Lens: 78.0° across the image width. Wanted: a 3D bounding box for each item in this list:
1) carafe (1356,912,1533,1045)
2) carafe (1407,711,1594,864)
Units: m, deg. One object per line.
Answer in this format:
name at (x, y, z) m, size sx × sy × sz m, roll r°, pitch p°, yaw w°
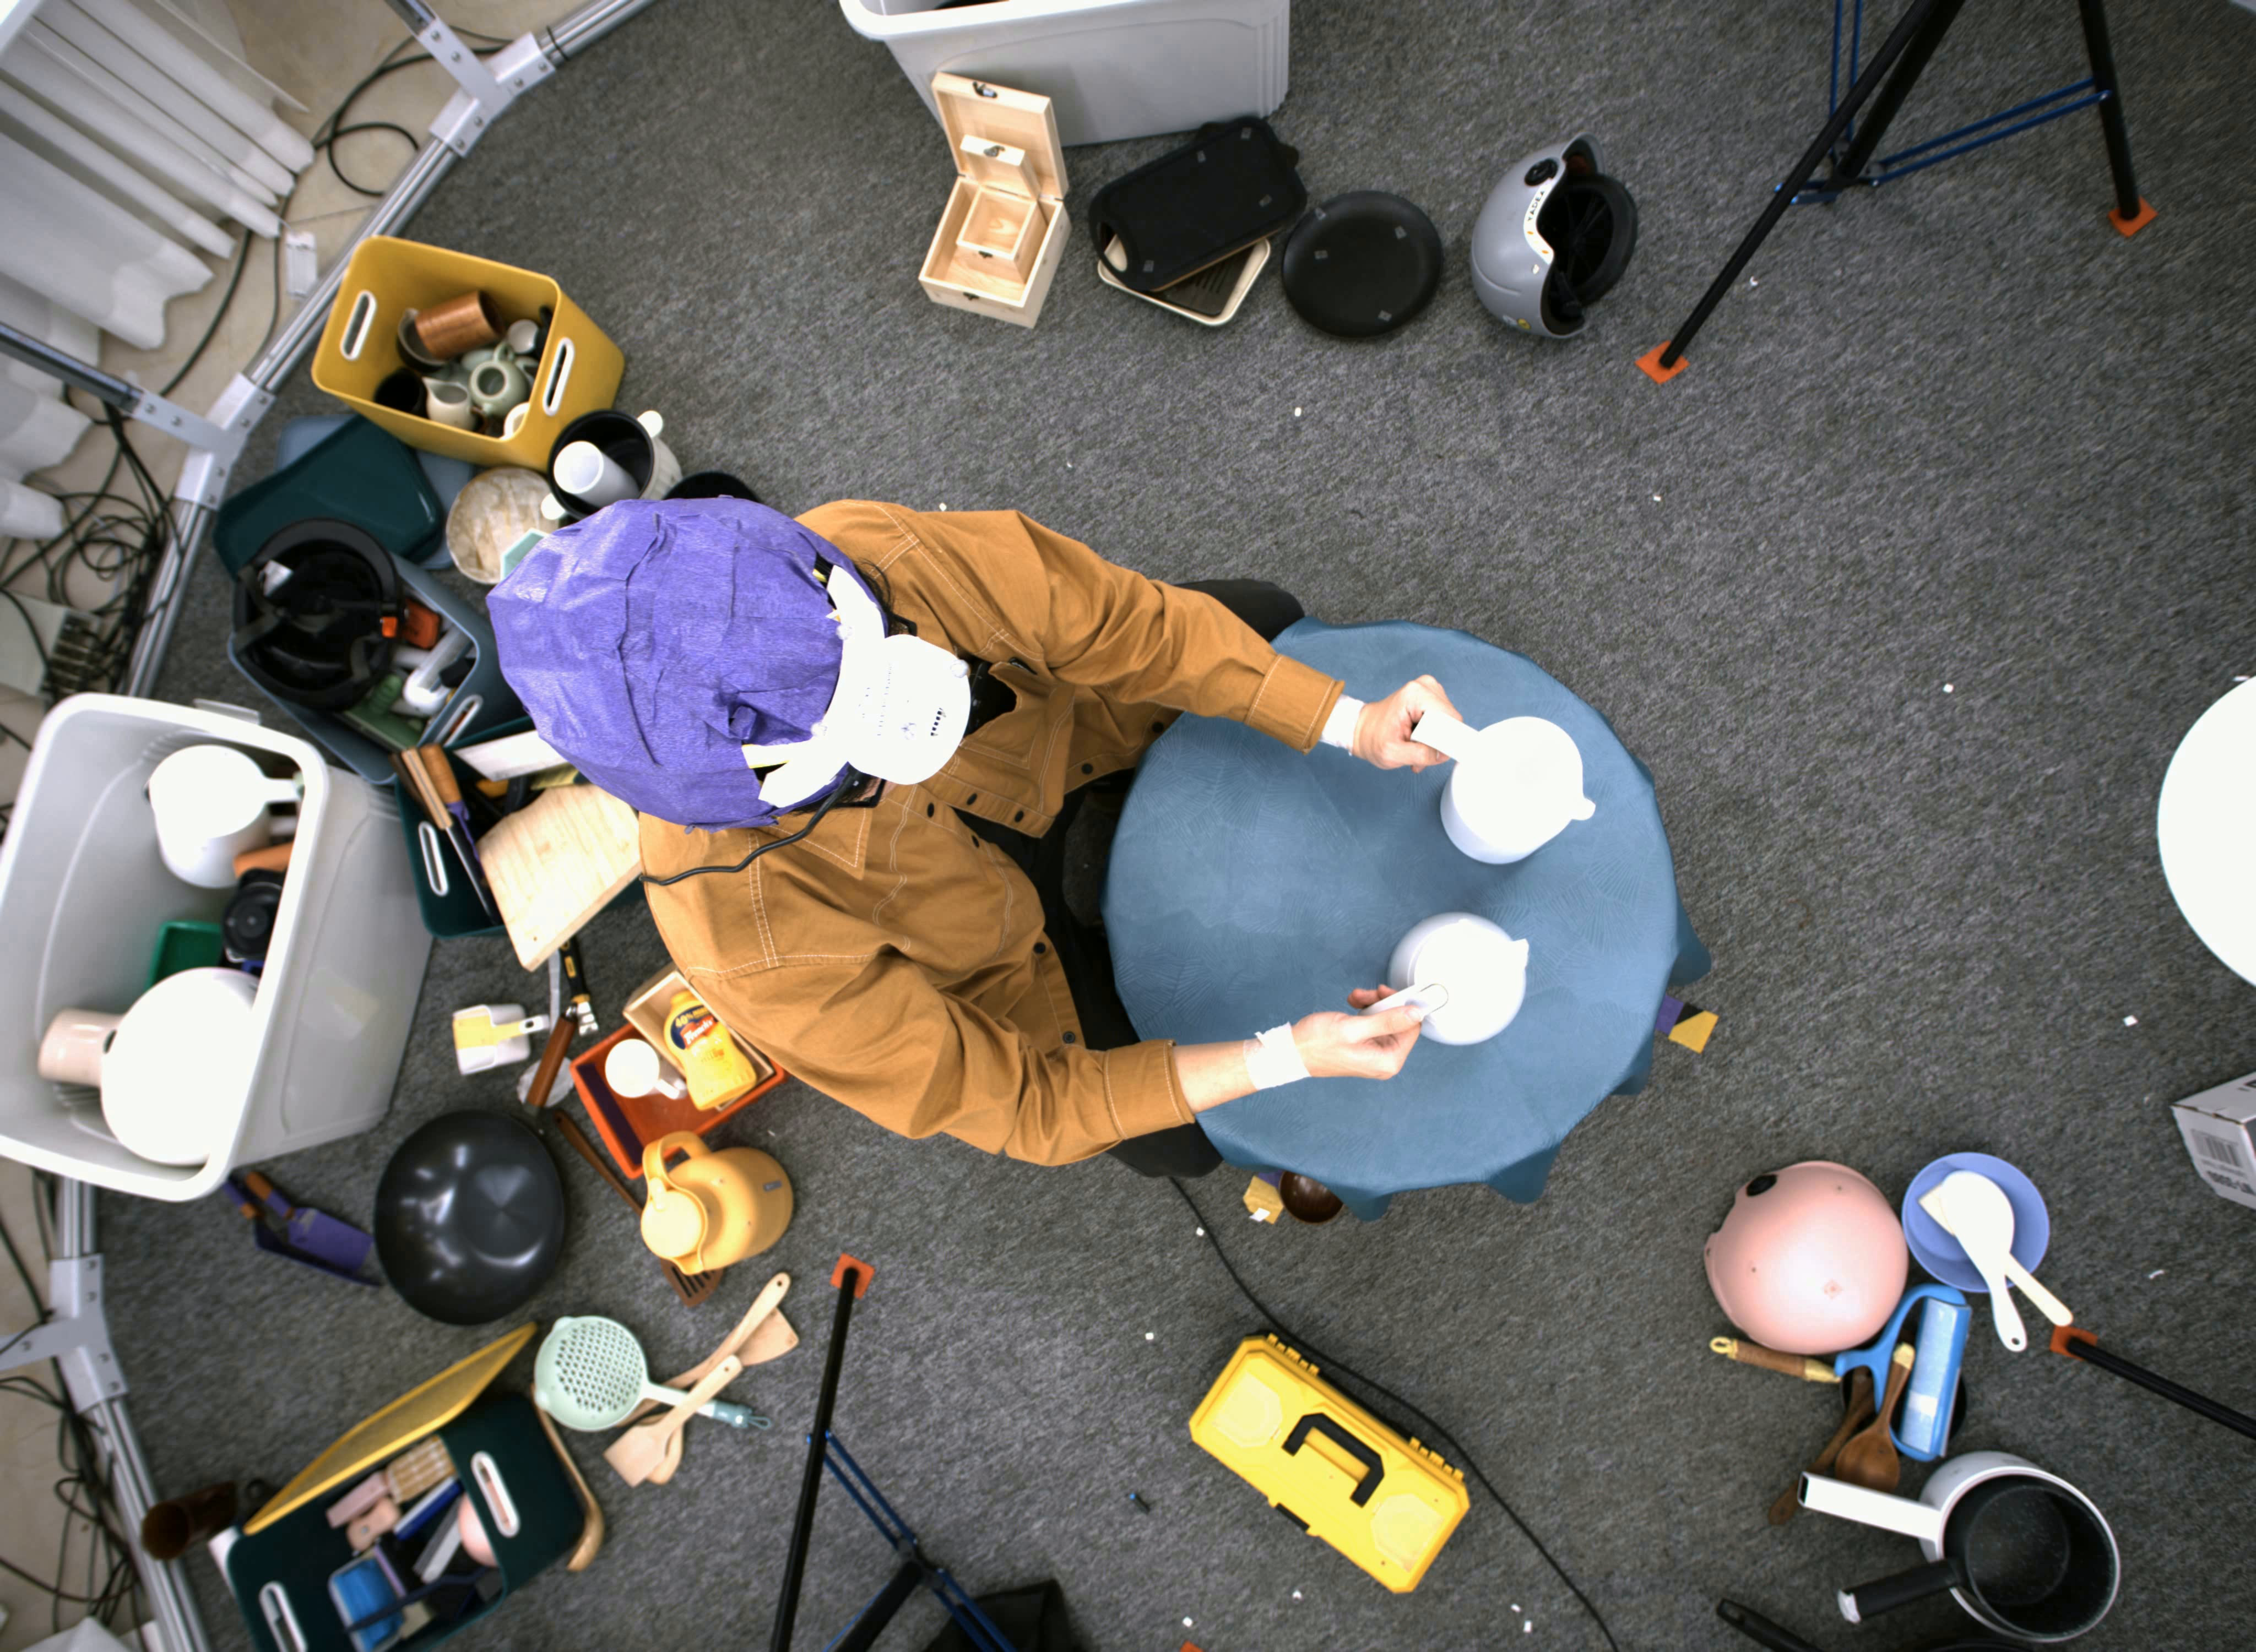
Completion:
carafe at (0.301, 0.154, 1.324) m, size 0.169 × 0.248 × 0.131 m, roll -26°, pitch 81°, yaw 9°
carafe at (0.349, -0.040, 1.316) m, size 0.172 × 0.268 × 0.124 m, roll 30°, pitch 92°, yaw 12°
